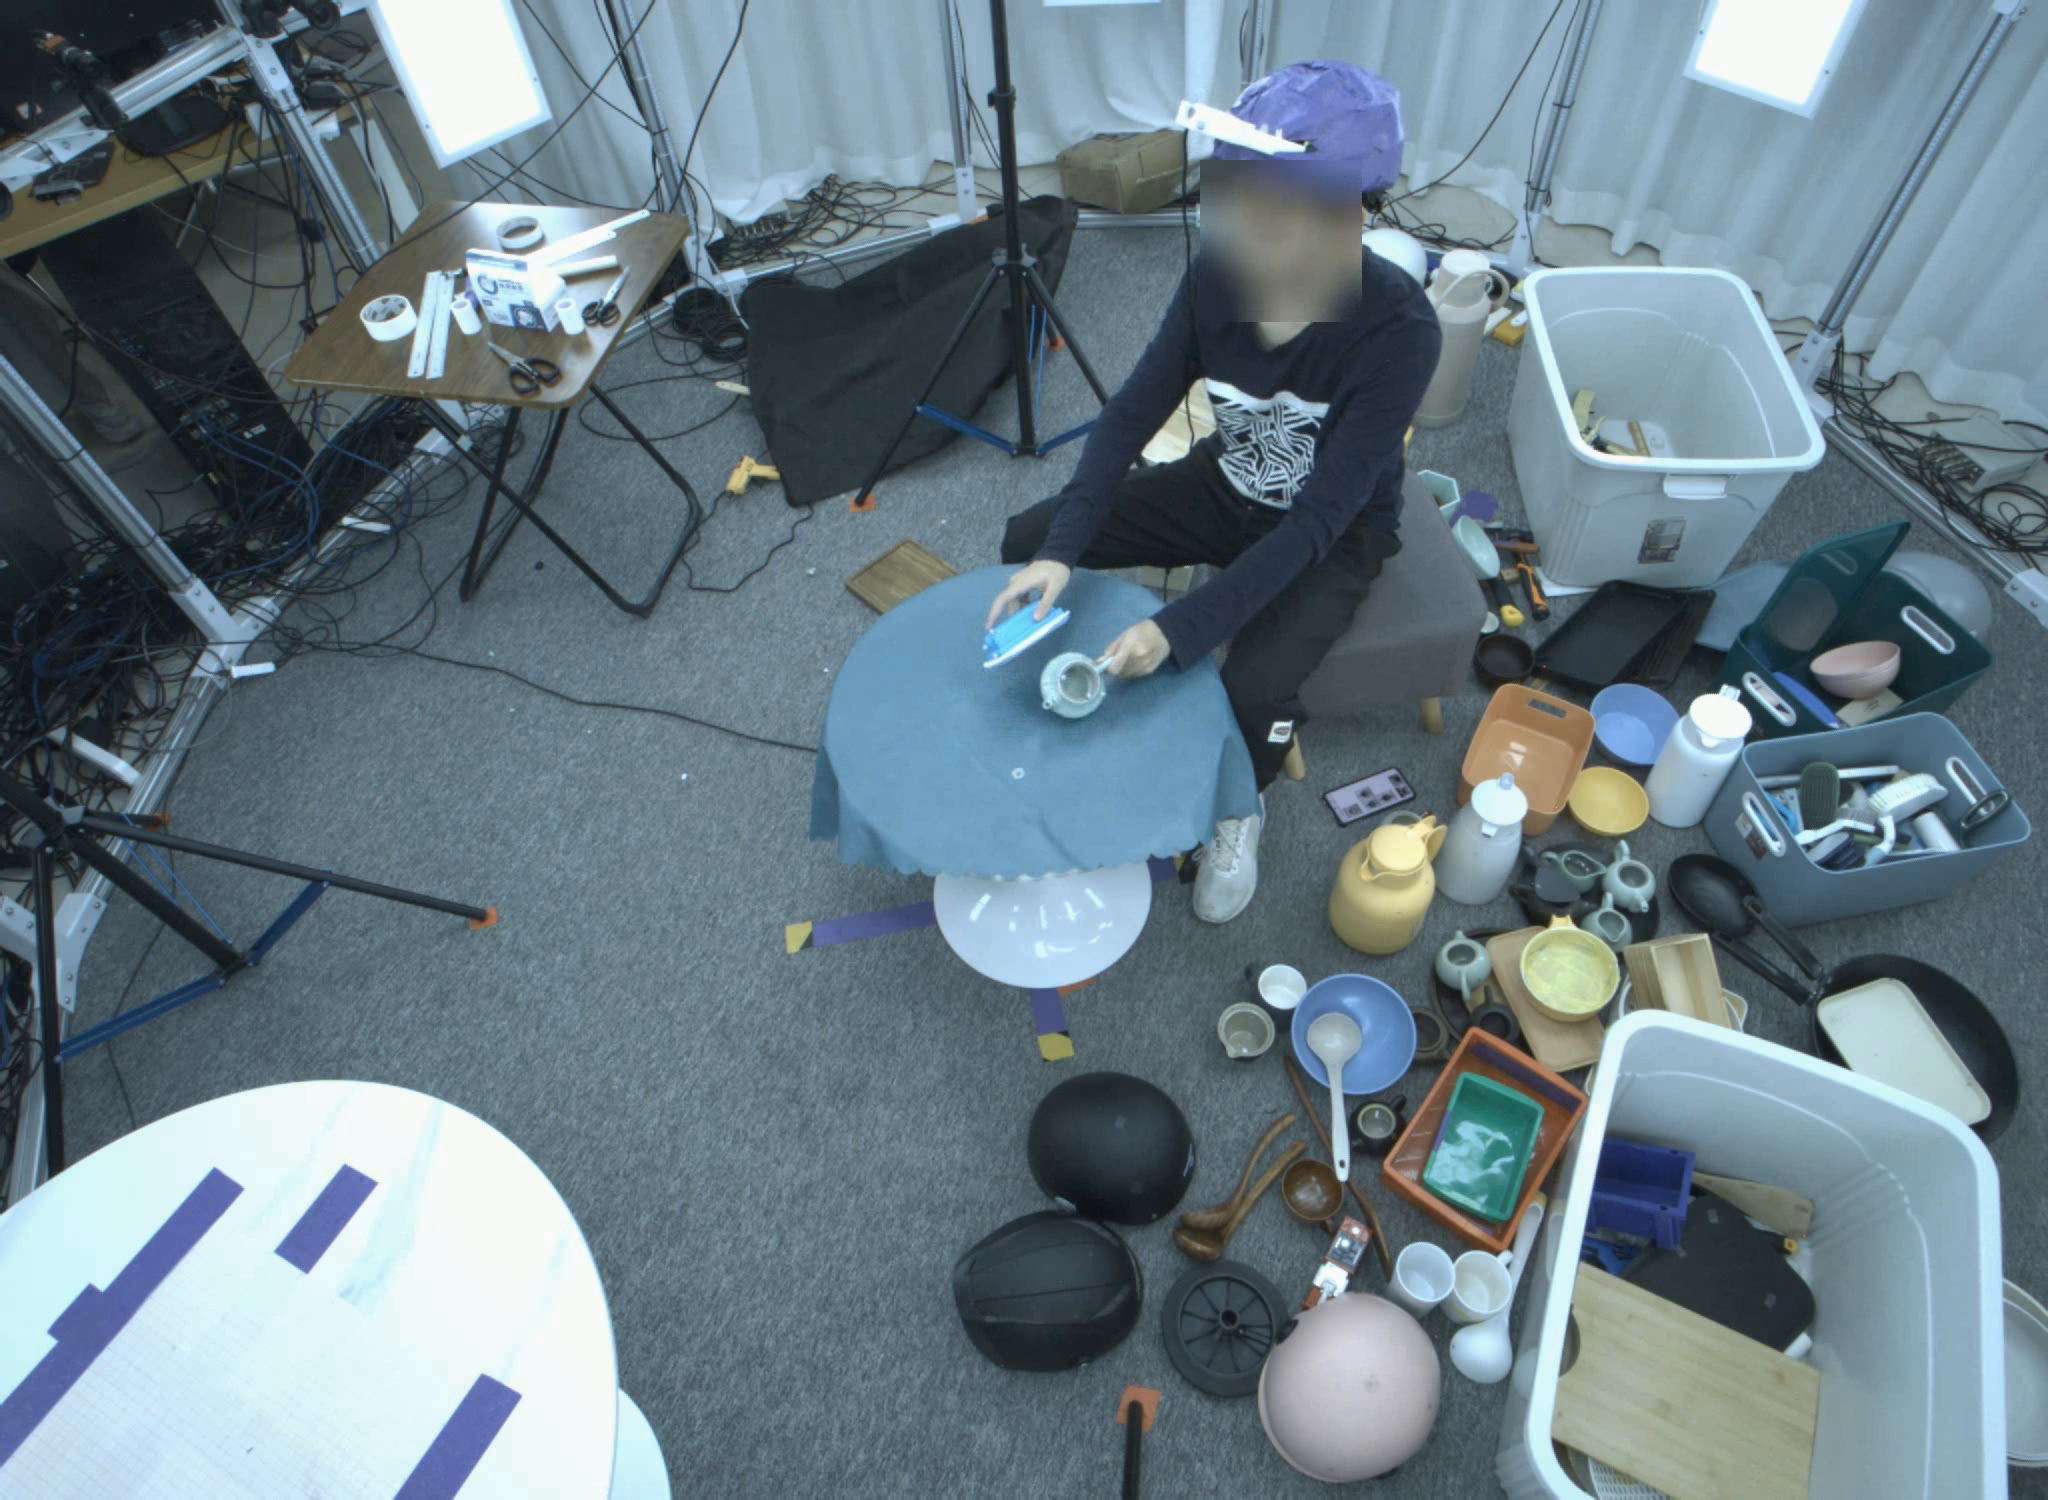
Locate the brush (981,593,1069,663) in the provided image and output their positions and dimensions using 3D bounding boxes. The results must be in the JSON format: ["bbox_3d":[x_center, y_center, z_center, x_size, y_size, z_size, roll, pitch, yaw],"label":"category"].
[{"bbox_3d":[-0.005,-0.183,1.803,0.145,0.082,0.056,-39,105,-18],"label":"brush"}]

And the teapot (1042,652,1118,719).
[{"bbox_3d":[0.079,-0.097,1.782,0.137,0.061,0.096,-37,93,-10],"label":"teapot"}]
